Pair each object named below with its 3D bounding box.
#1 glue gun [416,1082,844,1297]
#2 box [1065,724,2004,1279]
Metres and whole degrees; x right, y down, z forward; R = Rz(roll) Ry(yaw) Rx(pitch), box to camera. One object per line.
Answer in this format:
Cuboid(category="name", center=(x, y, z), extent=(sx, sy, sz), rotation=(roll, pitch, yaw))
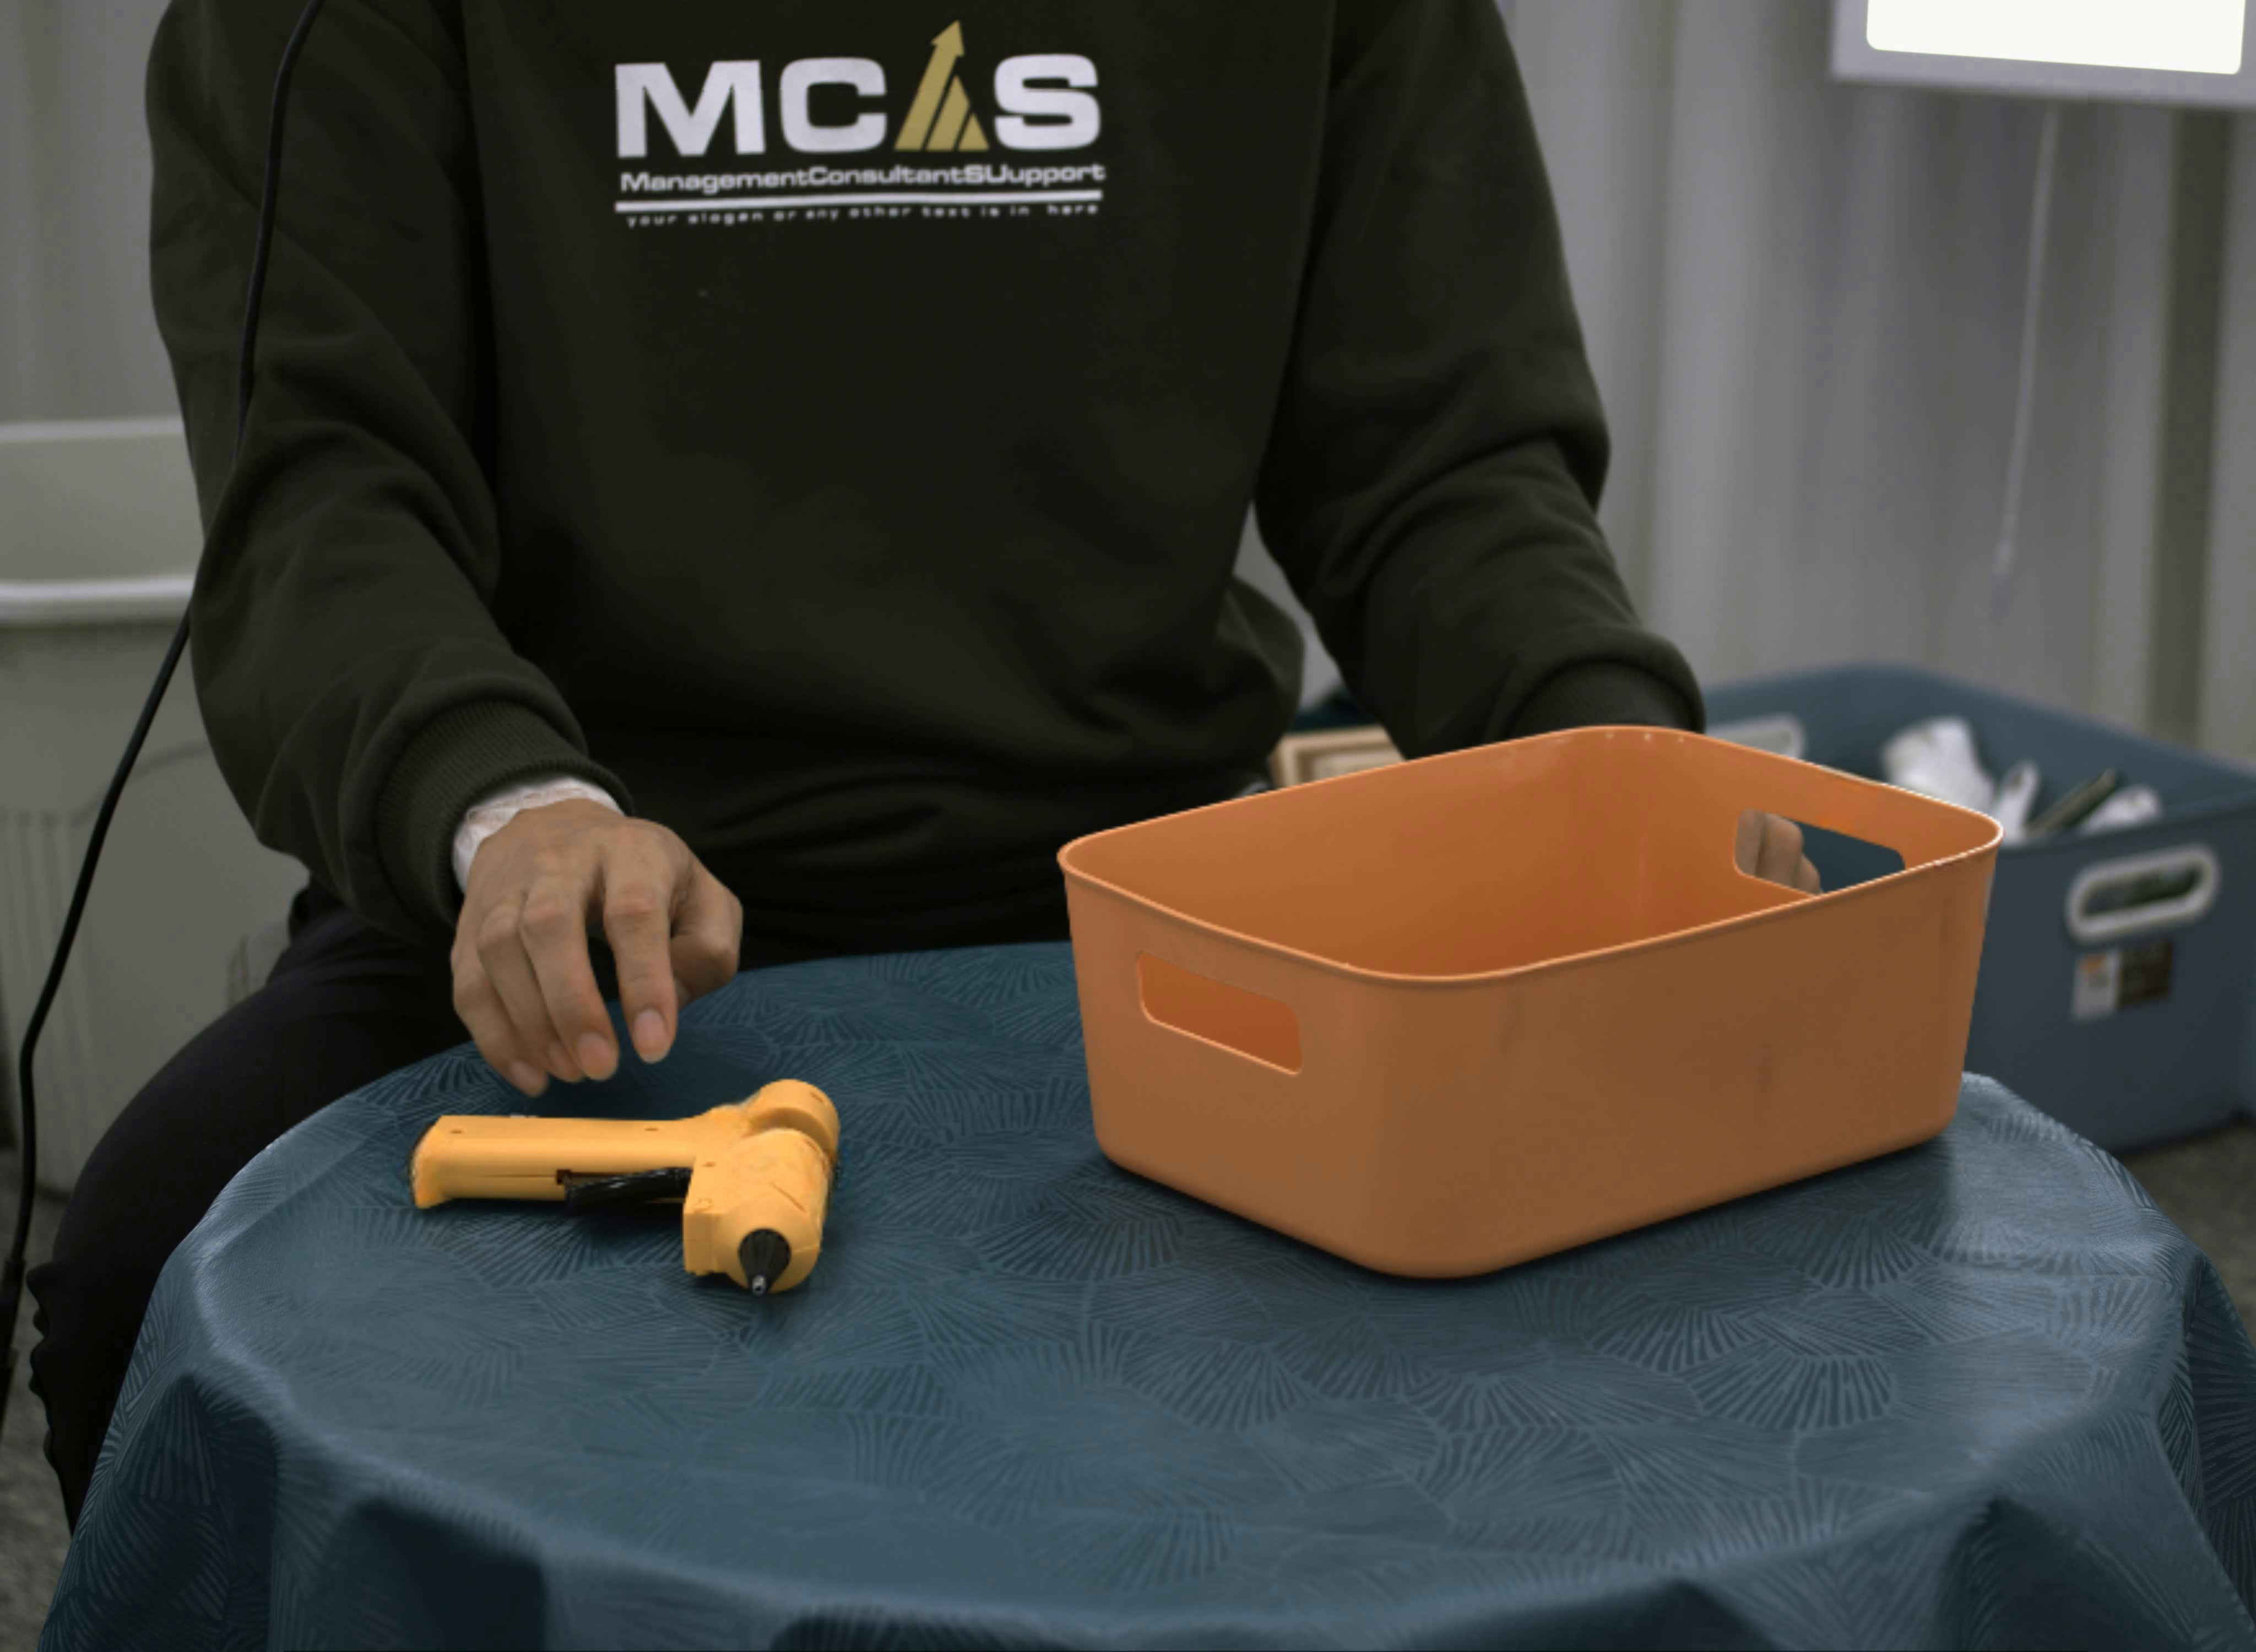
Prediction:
Cuboid(category="glue gun", center=(-0.149, 0.115, 1.570), extent=(0.133, 0.031, 0.150), rotation=(-2, 16, -4))
Cuboid(category="box", center=(0.128, 0.052, 1.659), extent=(0.274, 0.103, 0.197), rotation=(-13, 21, -38))
